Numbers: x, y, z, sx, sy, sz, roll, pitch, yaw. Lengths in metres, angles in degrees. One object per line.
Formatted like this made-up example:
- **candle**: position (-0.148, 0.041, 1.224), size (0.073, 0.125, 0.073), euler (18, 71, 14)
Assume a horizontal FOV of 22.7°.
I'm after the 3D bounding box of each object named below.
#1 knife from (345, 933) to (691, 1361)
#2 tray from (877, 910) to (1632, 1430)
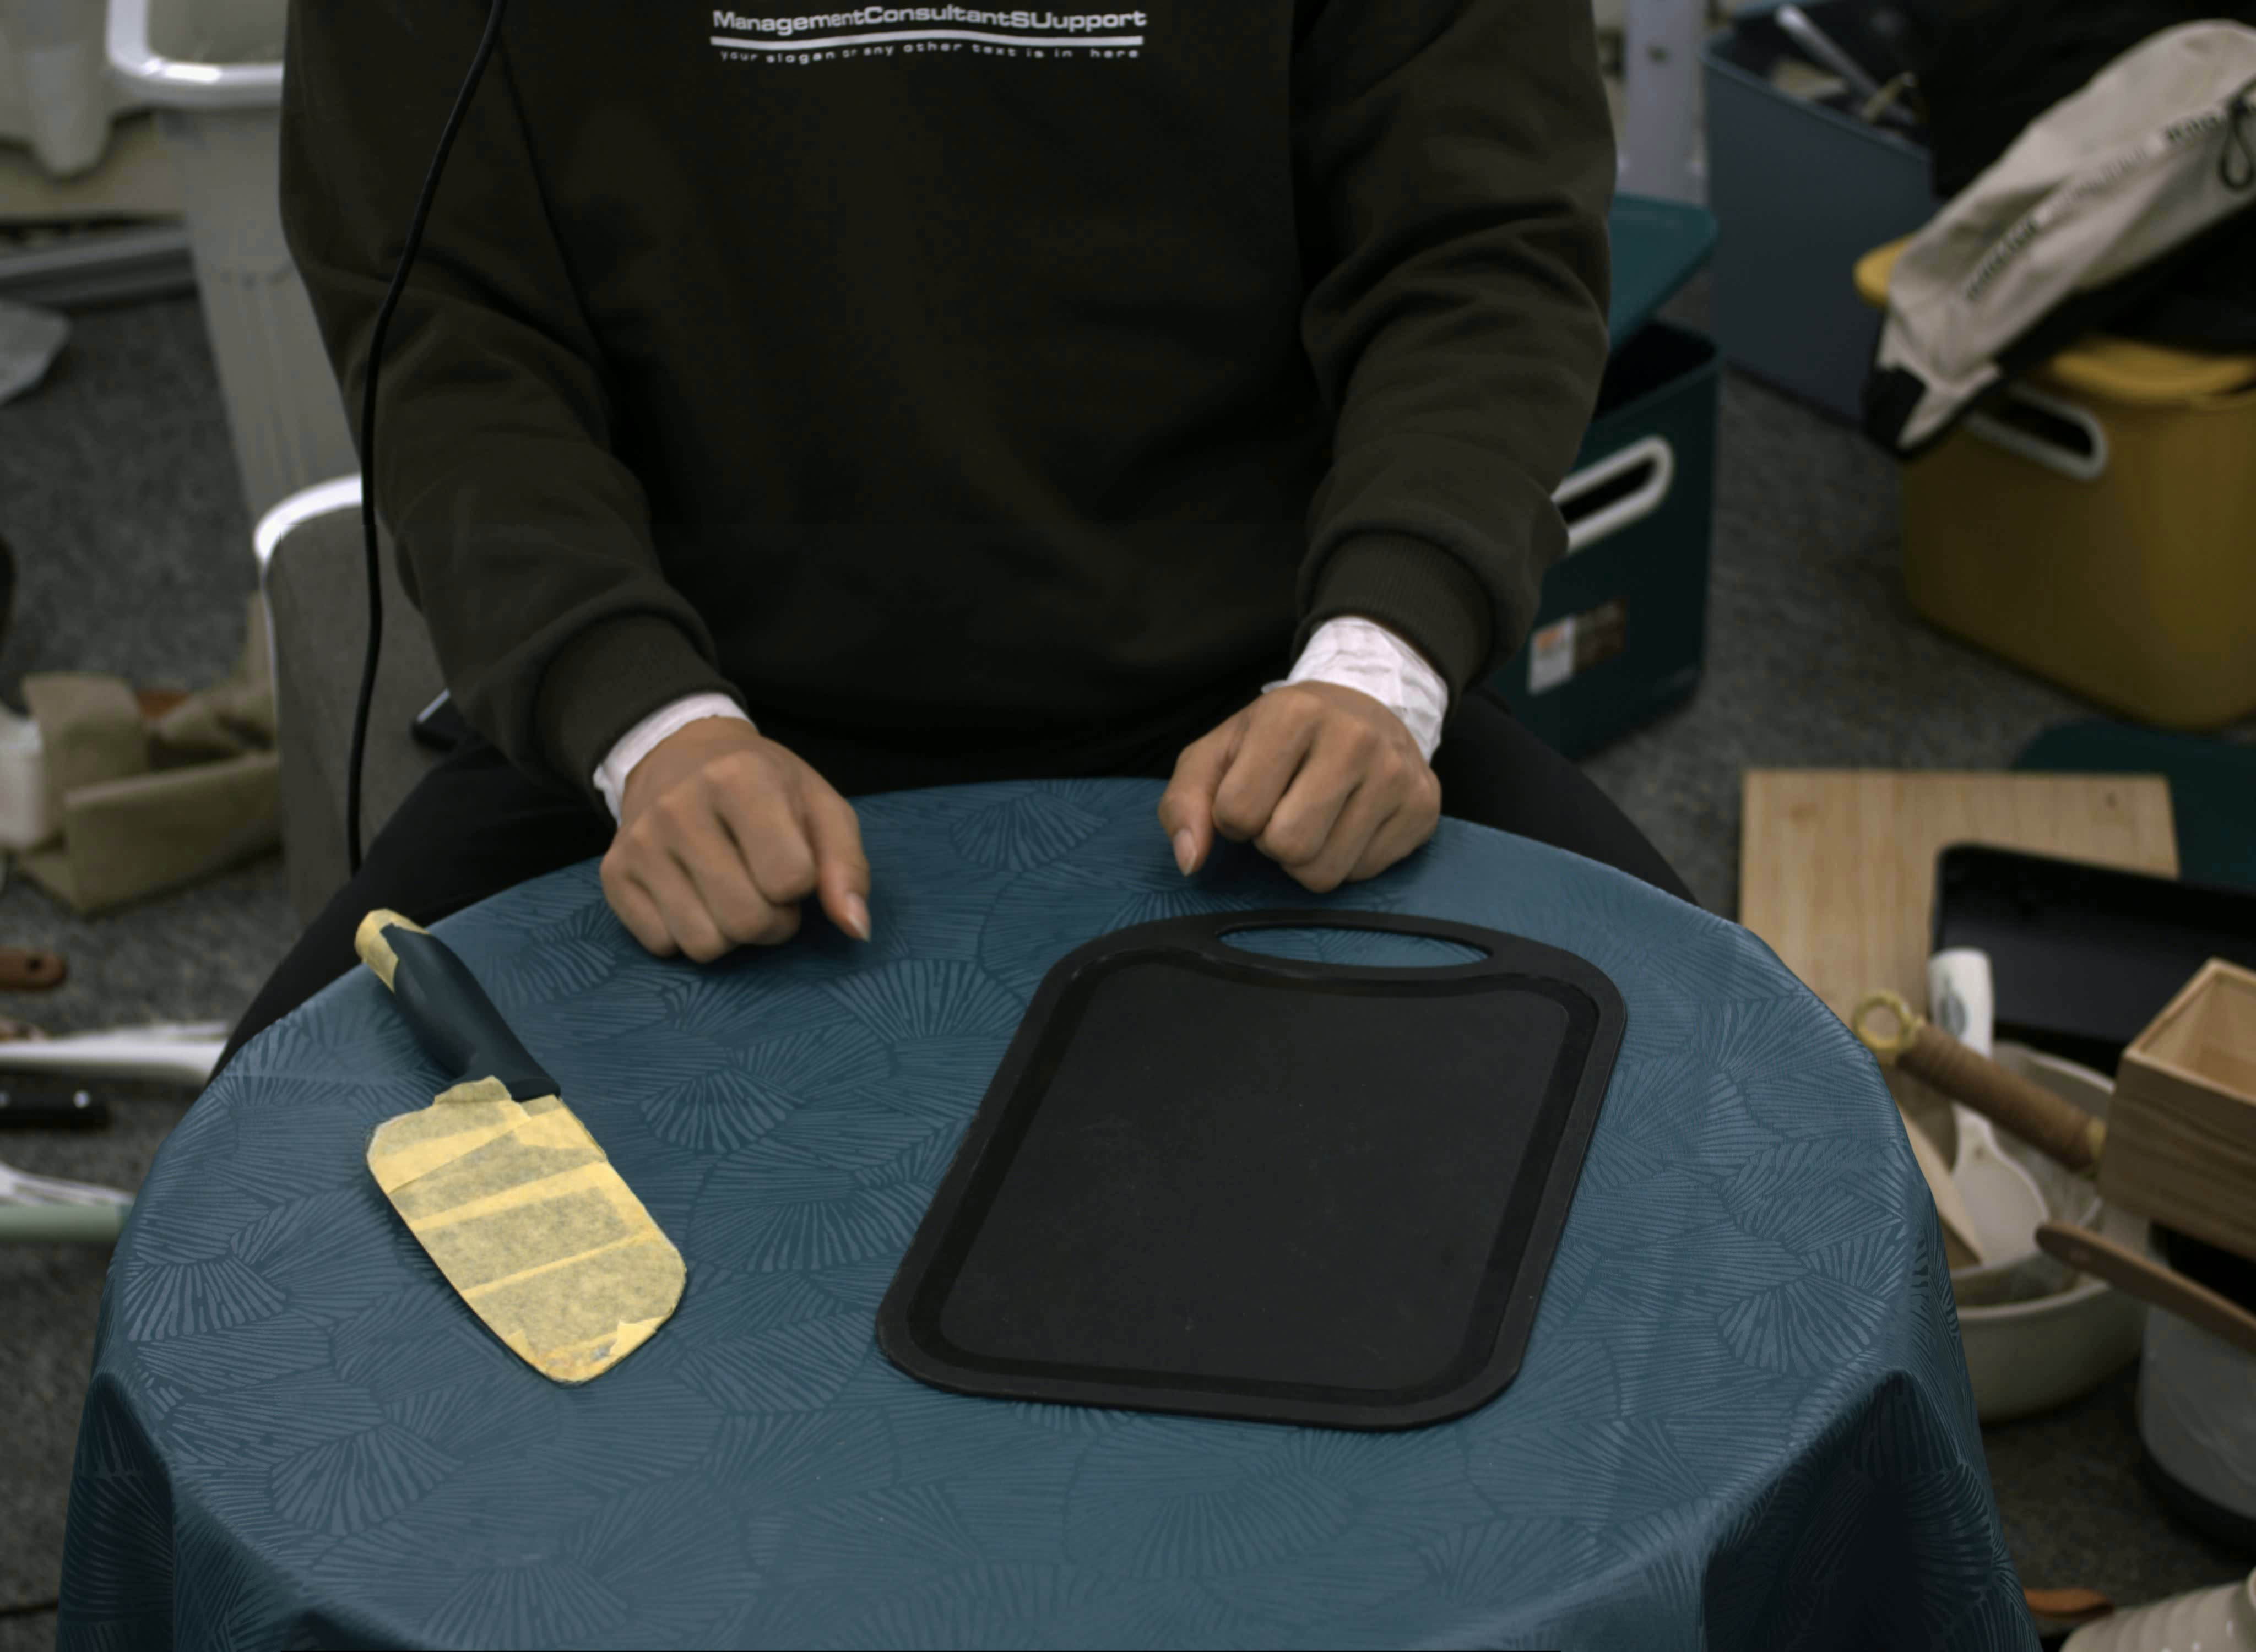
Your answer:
- **knife**: position (-0.221, 0.108, 1.893), size (0.081, 0.027, 0.291), euler (-11, 29, -21)
- **tray**: position (0.049, 0.105, 1.881), size (0.209, 0.009, 0.331), euler (4, 28, 13)
